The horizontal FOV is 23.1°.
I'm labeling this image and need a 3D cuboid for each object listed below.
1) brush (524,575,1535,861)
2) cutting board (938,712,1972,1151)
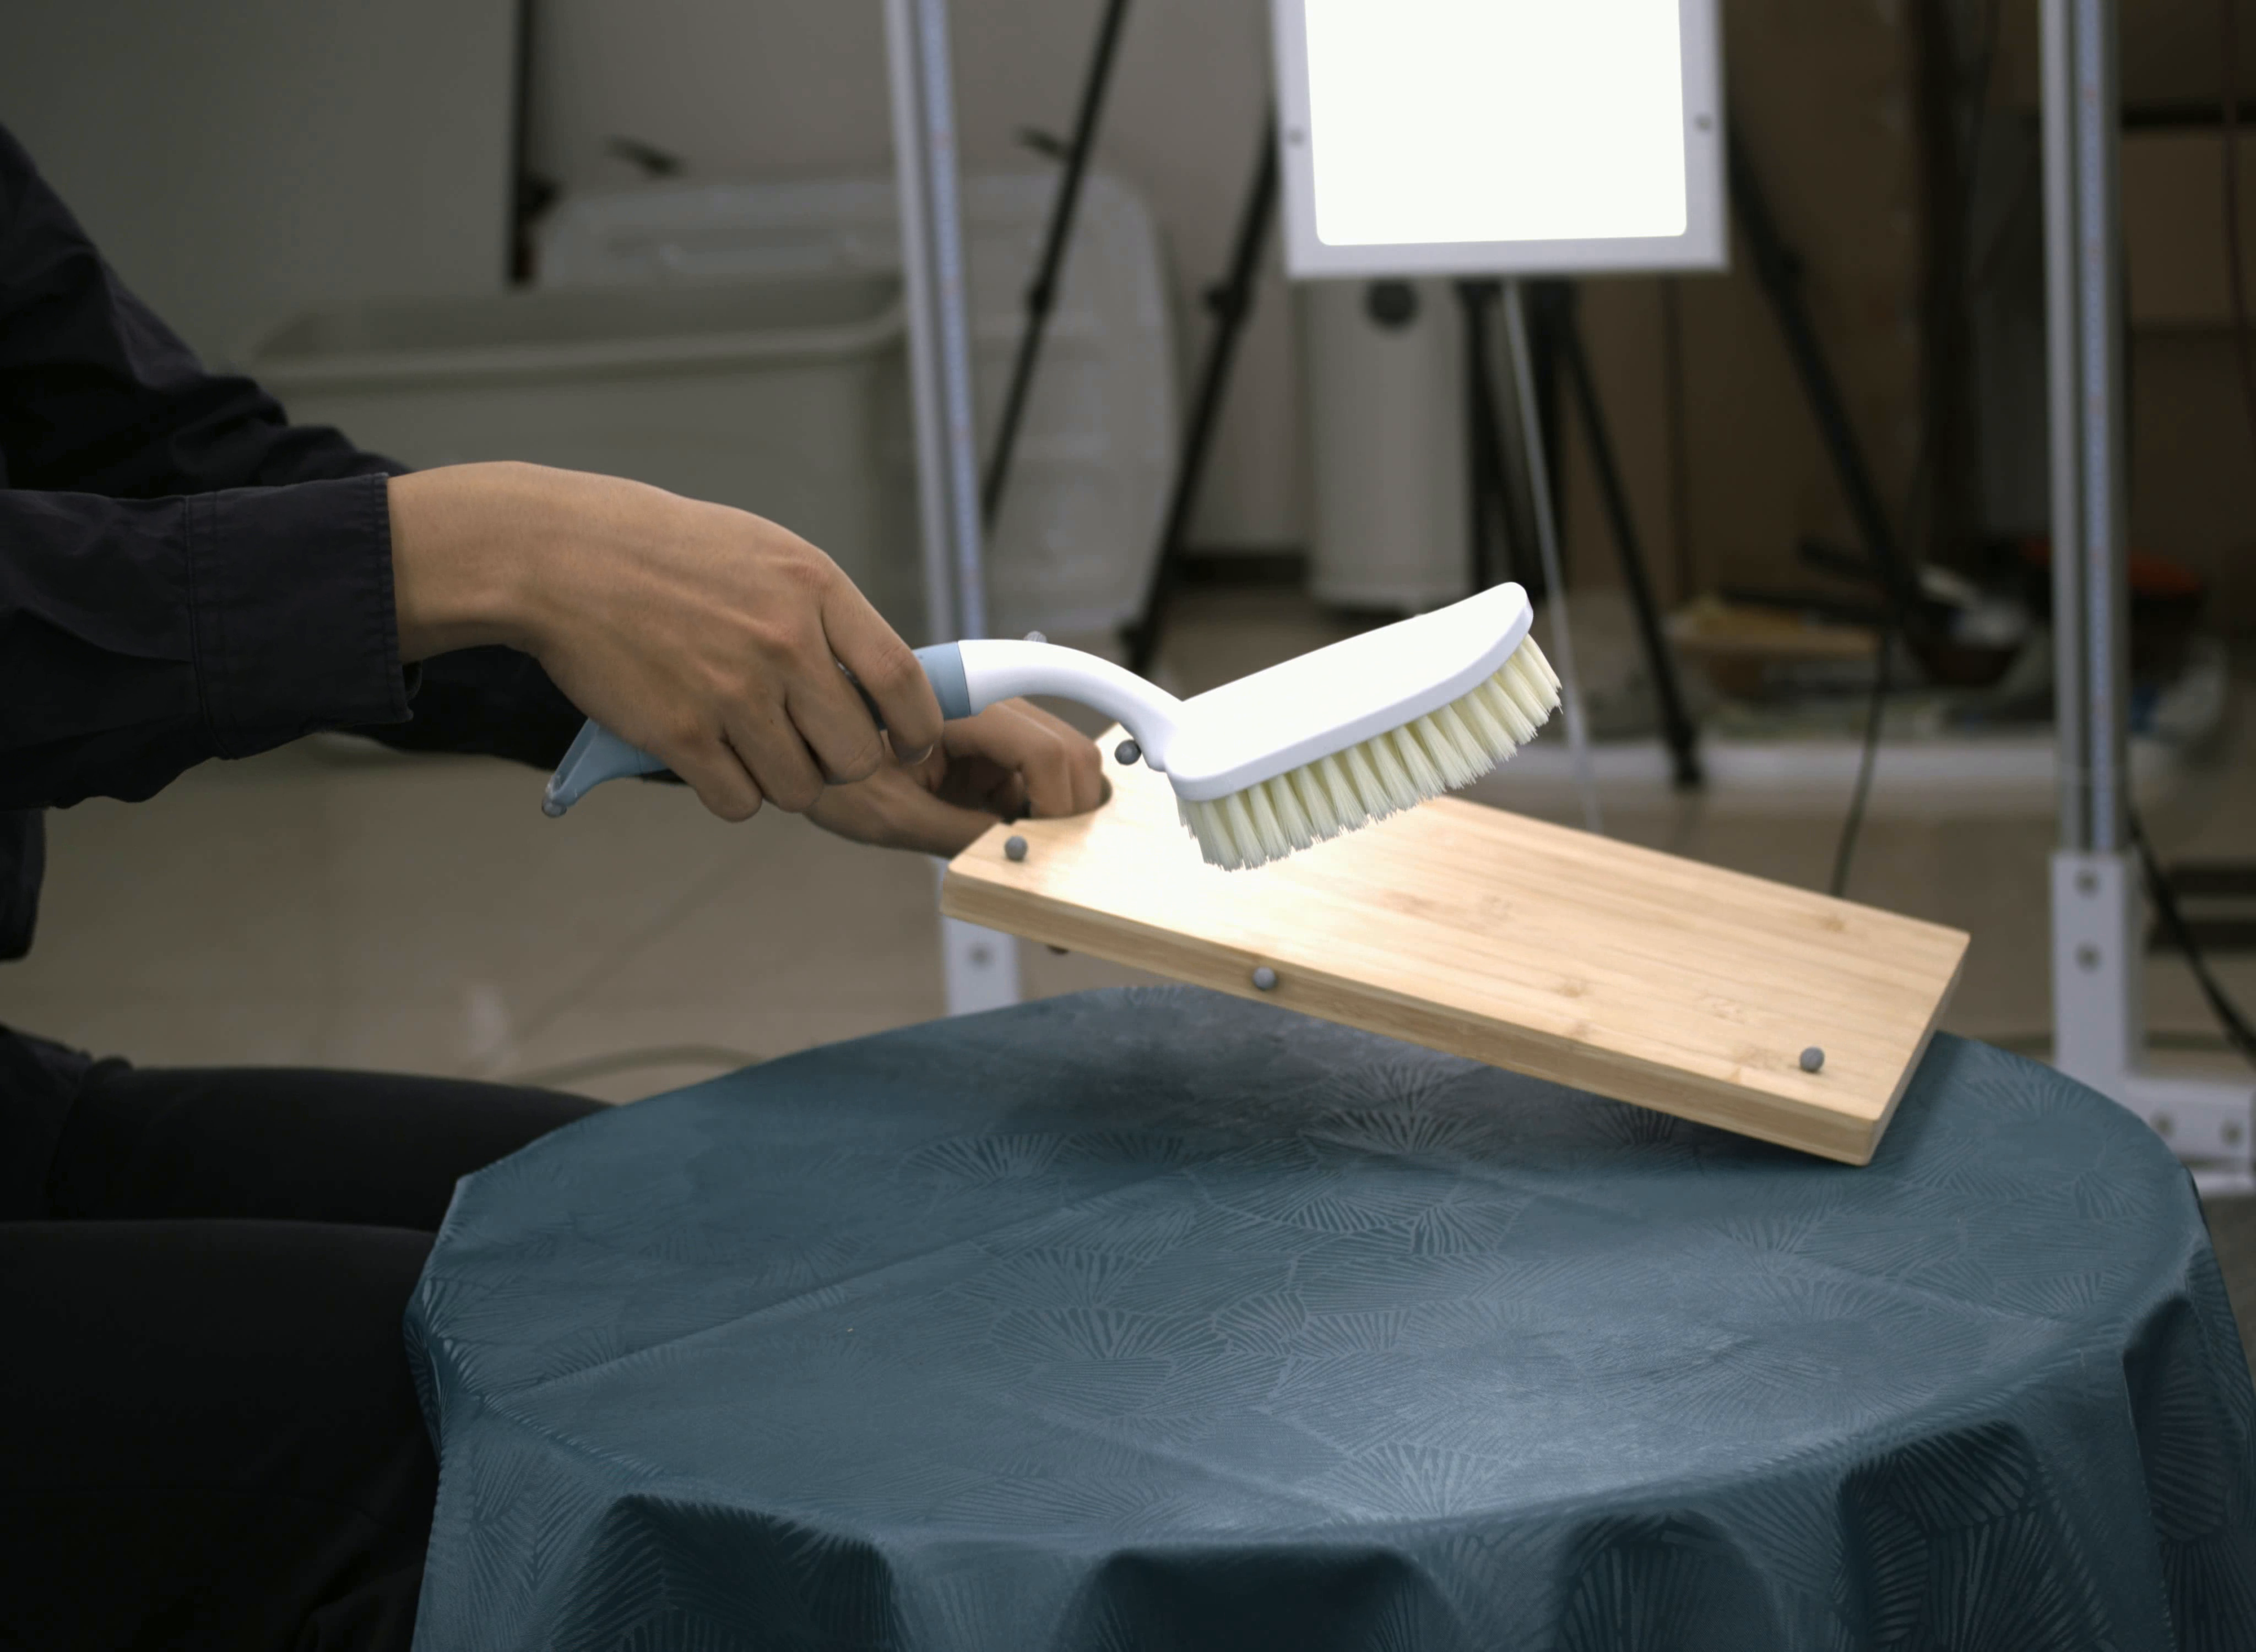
[{"bbox_3d":[-0.029,-0.017,1.759,0.324,0.085,0.083,-10,-15,-1],"label":"brush"},{"bbox_3d":[0.127,0.034,2.011,0.351,0.024,0.247,14,17,13],"label":"cutting board"}]
